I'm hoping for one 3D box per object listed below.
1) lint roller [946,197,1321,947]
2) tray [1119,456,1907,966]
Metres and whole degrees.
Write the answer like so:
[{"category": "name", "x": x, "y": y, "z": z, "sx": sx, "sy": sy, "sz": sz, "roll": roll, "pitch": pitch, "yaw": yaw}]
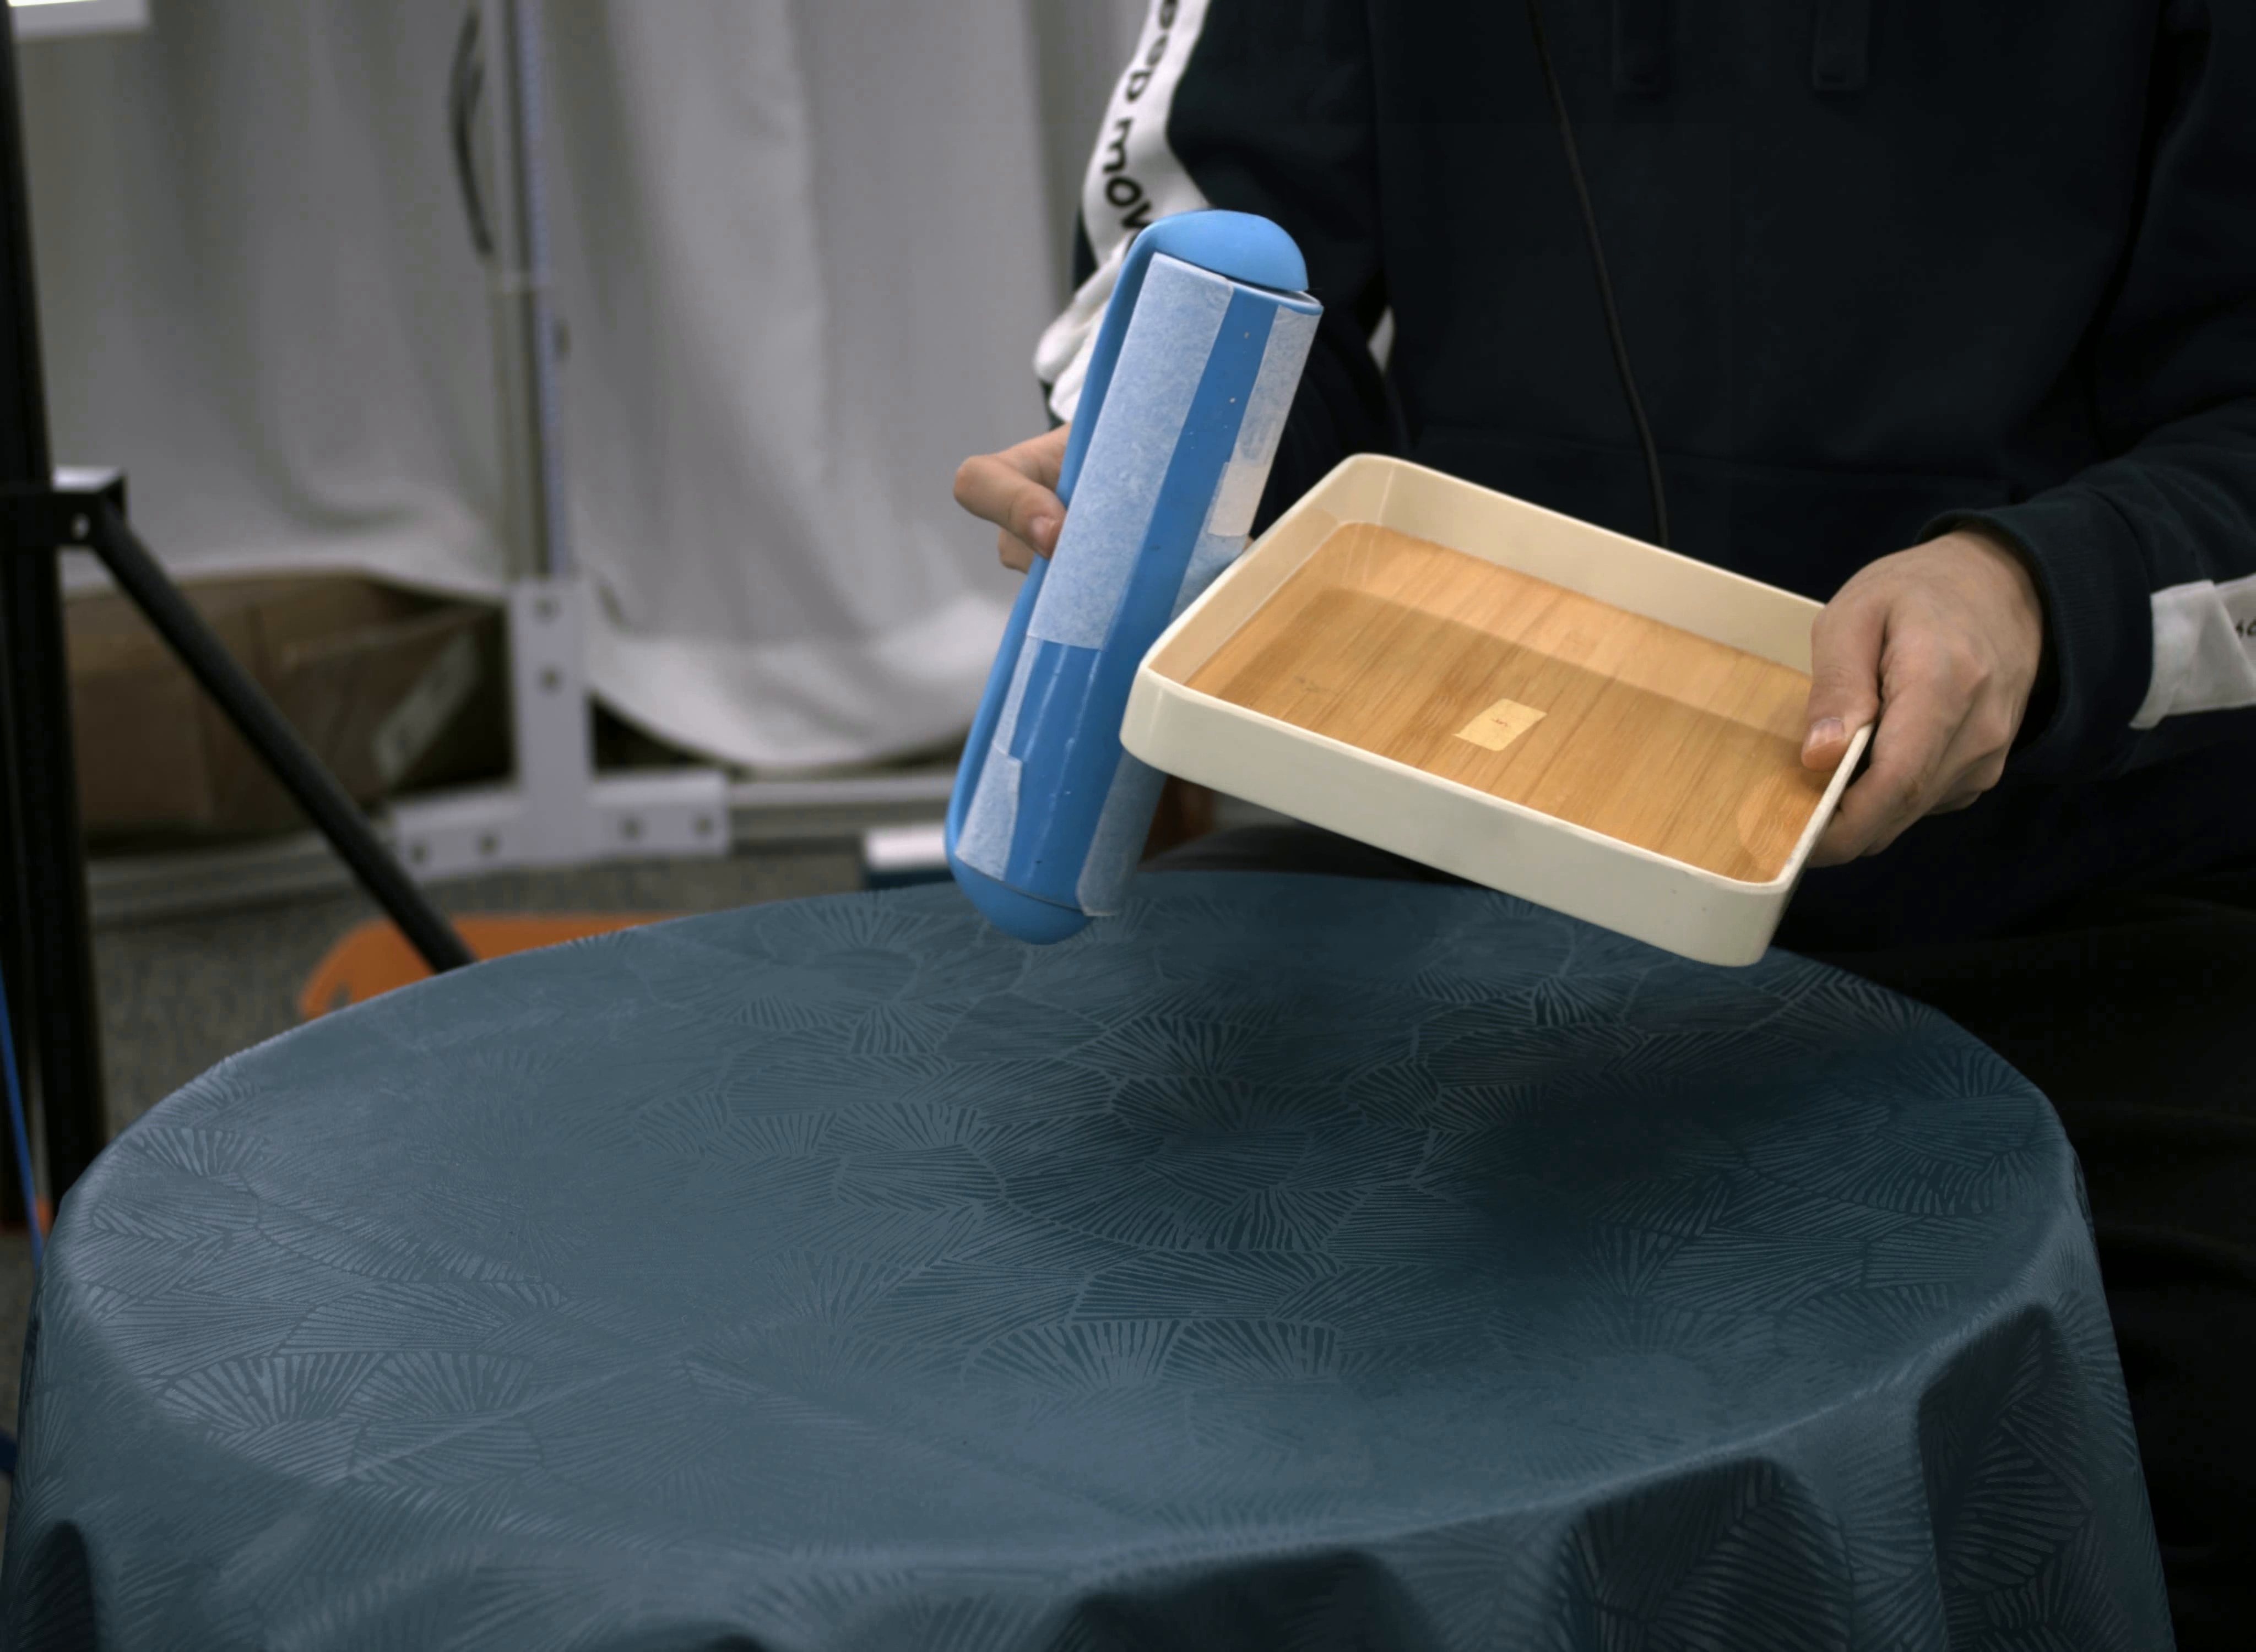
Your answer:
[{"category": "lint roller", "x": 0.004, "y": -0.080, "z": 1.636, "sx": 0.067, "sy": 0.230, "sz": 0.180, "roll": 17, "pitch": 7, "yaw": 0}, {"category": "tray", "x": 0.121, "y": -0.039, "z": 1.569, "sx": 0.193, "sy": 0.027, "sz": 0.297, "roll": 20, "pitch": 20, "yaw": 11}]
